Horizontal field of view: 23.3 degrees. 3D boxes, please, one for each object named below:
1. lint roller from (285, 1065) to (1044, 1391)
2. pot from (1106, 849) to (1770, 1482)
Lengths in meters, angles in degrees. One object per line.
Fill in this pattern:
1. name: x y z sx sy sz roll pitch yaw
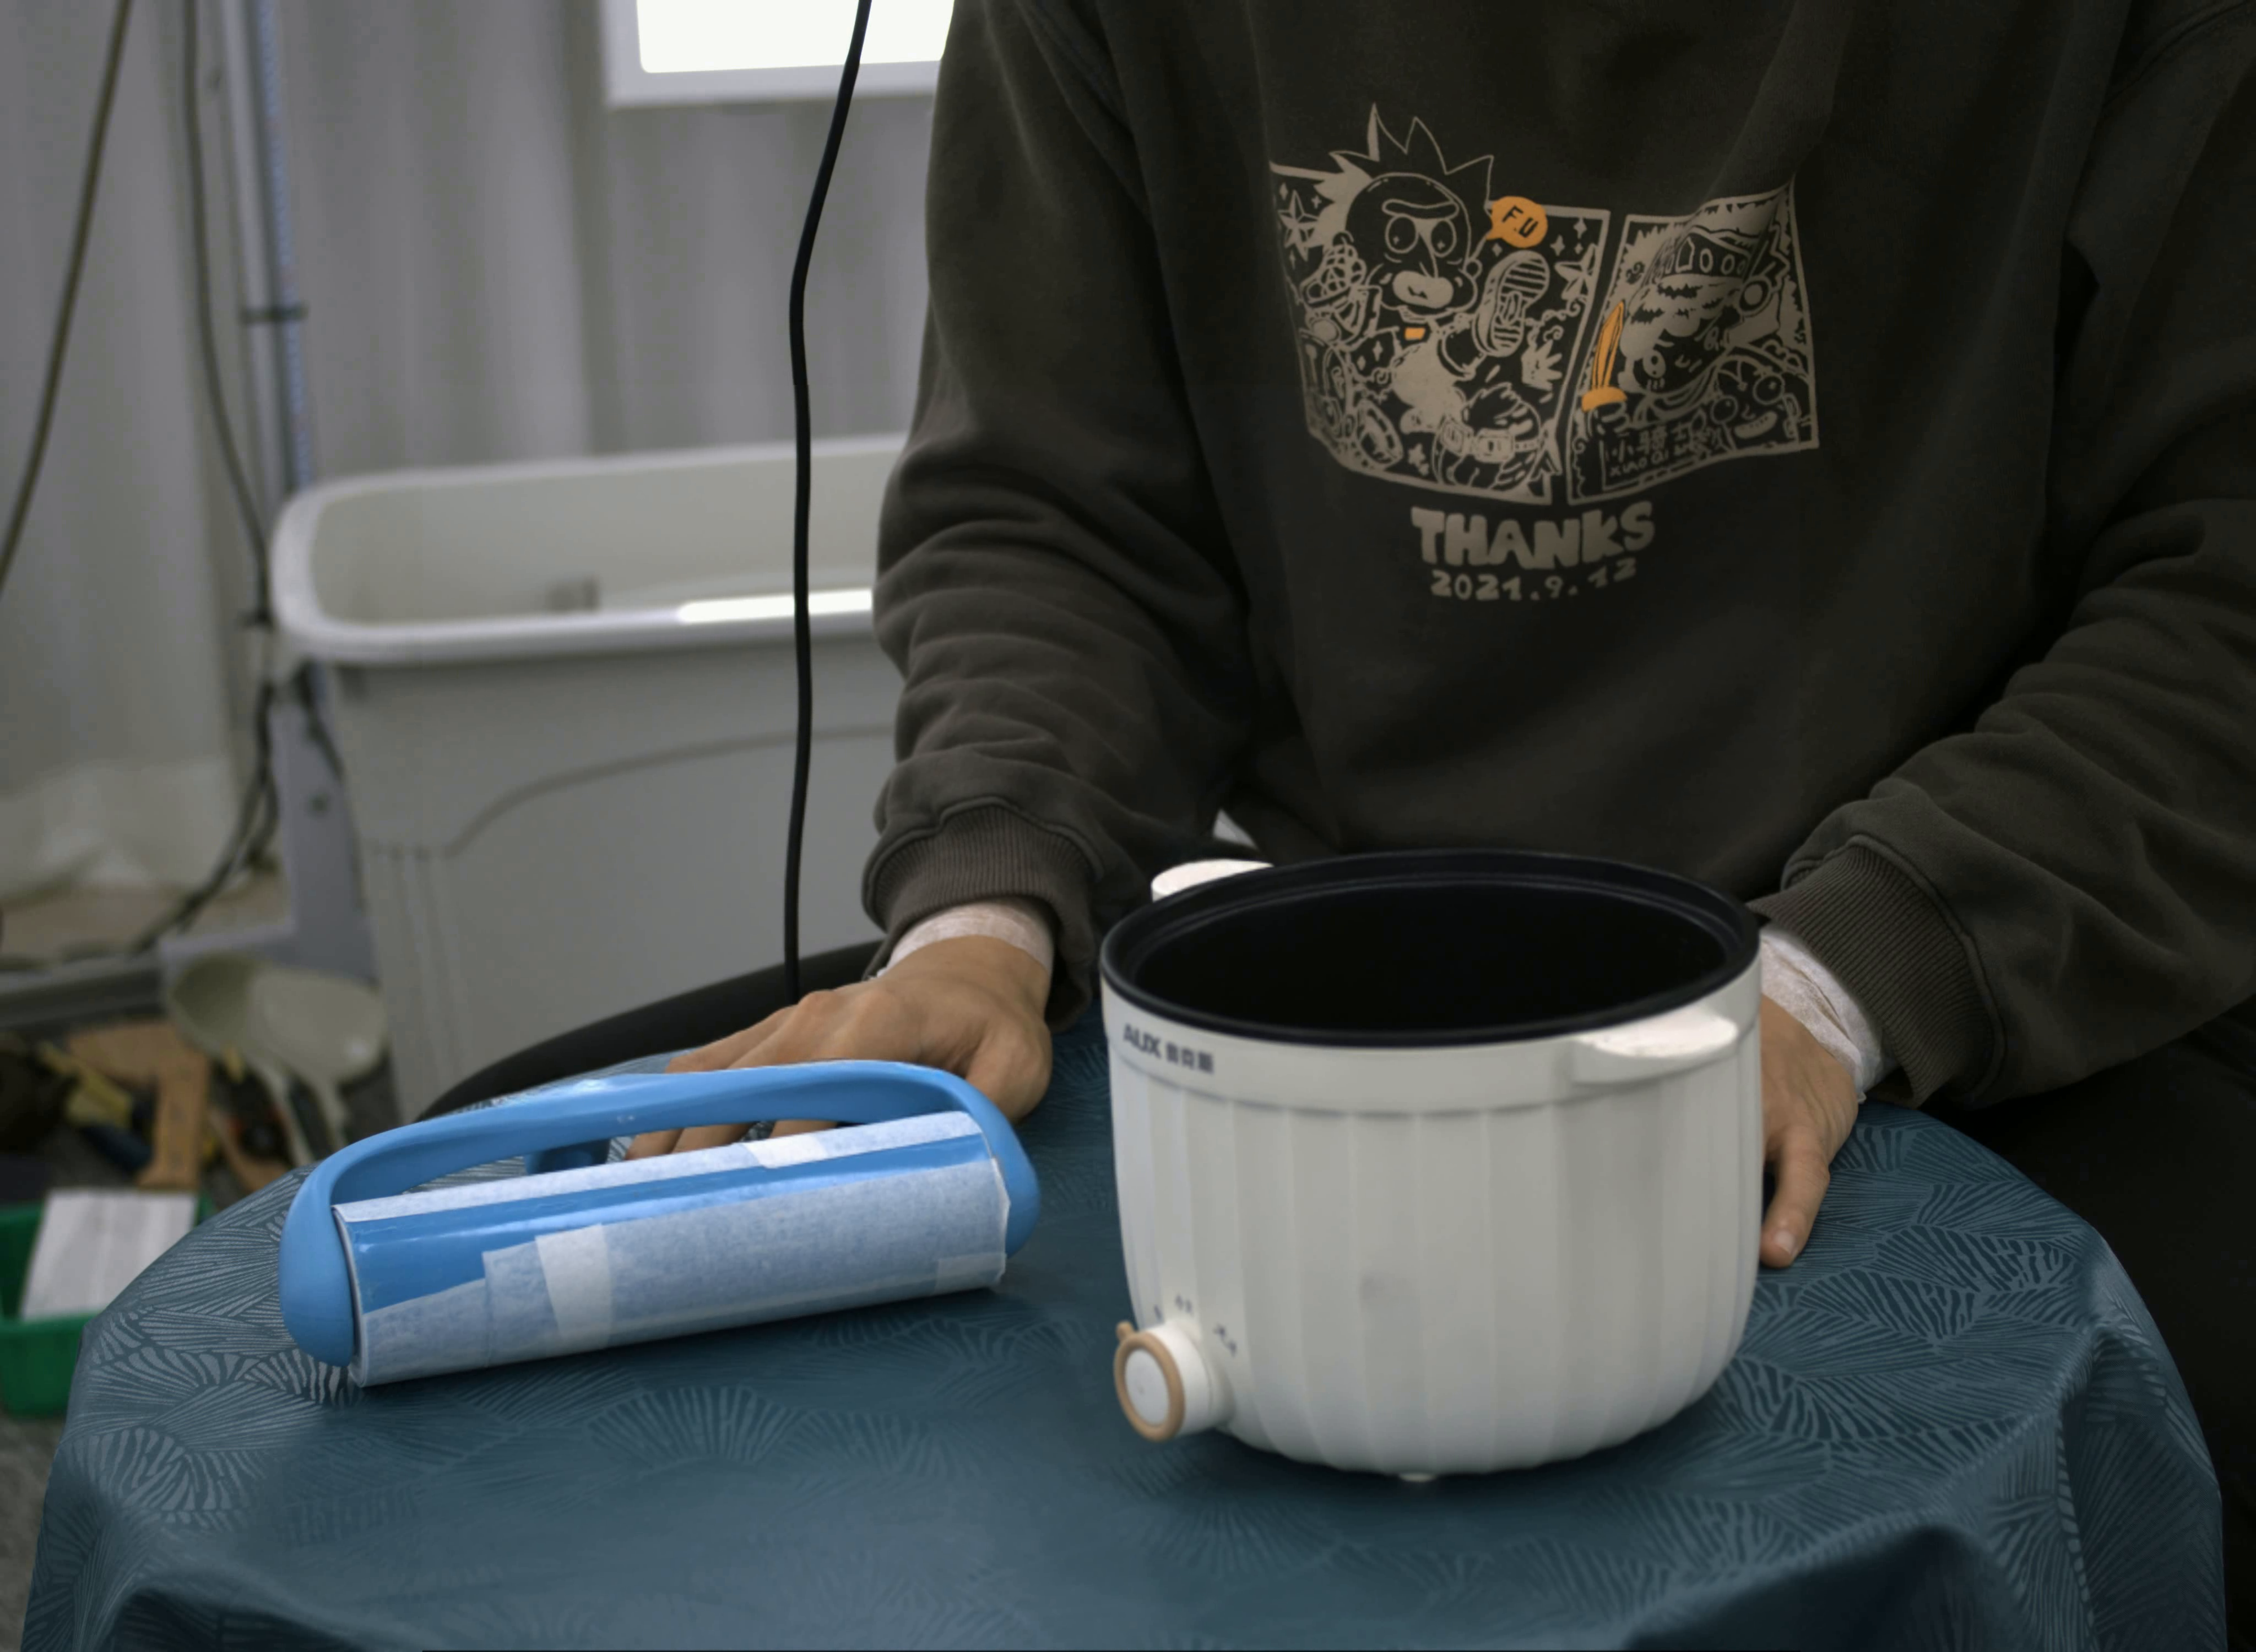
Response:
1. lint roller: -0.156 0.109 1.665 0.228 0.067 0.182 -10 18 -19
2. pot: 0.083 0.096 1.510 0.189 0.142 0.242 -9 14 -34
